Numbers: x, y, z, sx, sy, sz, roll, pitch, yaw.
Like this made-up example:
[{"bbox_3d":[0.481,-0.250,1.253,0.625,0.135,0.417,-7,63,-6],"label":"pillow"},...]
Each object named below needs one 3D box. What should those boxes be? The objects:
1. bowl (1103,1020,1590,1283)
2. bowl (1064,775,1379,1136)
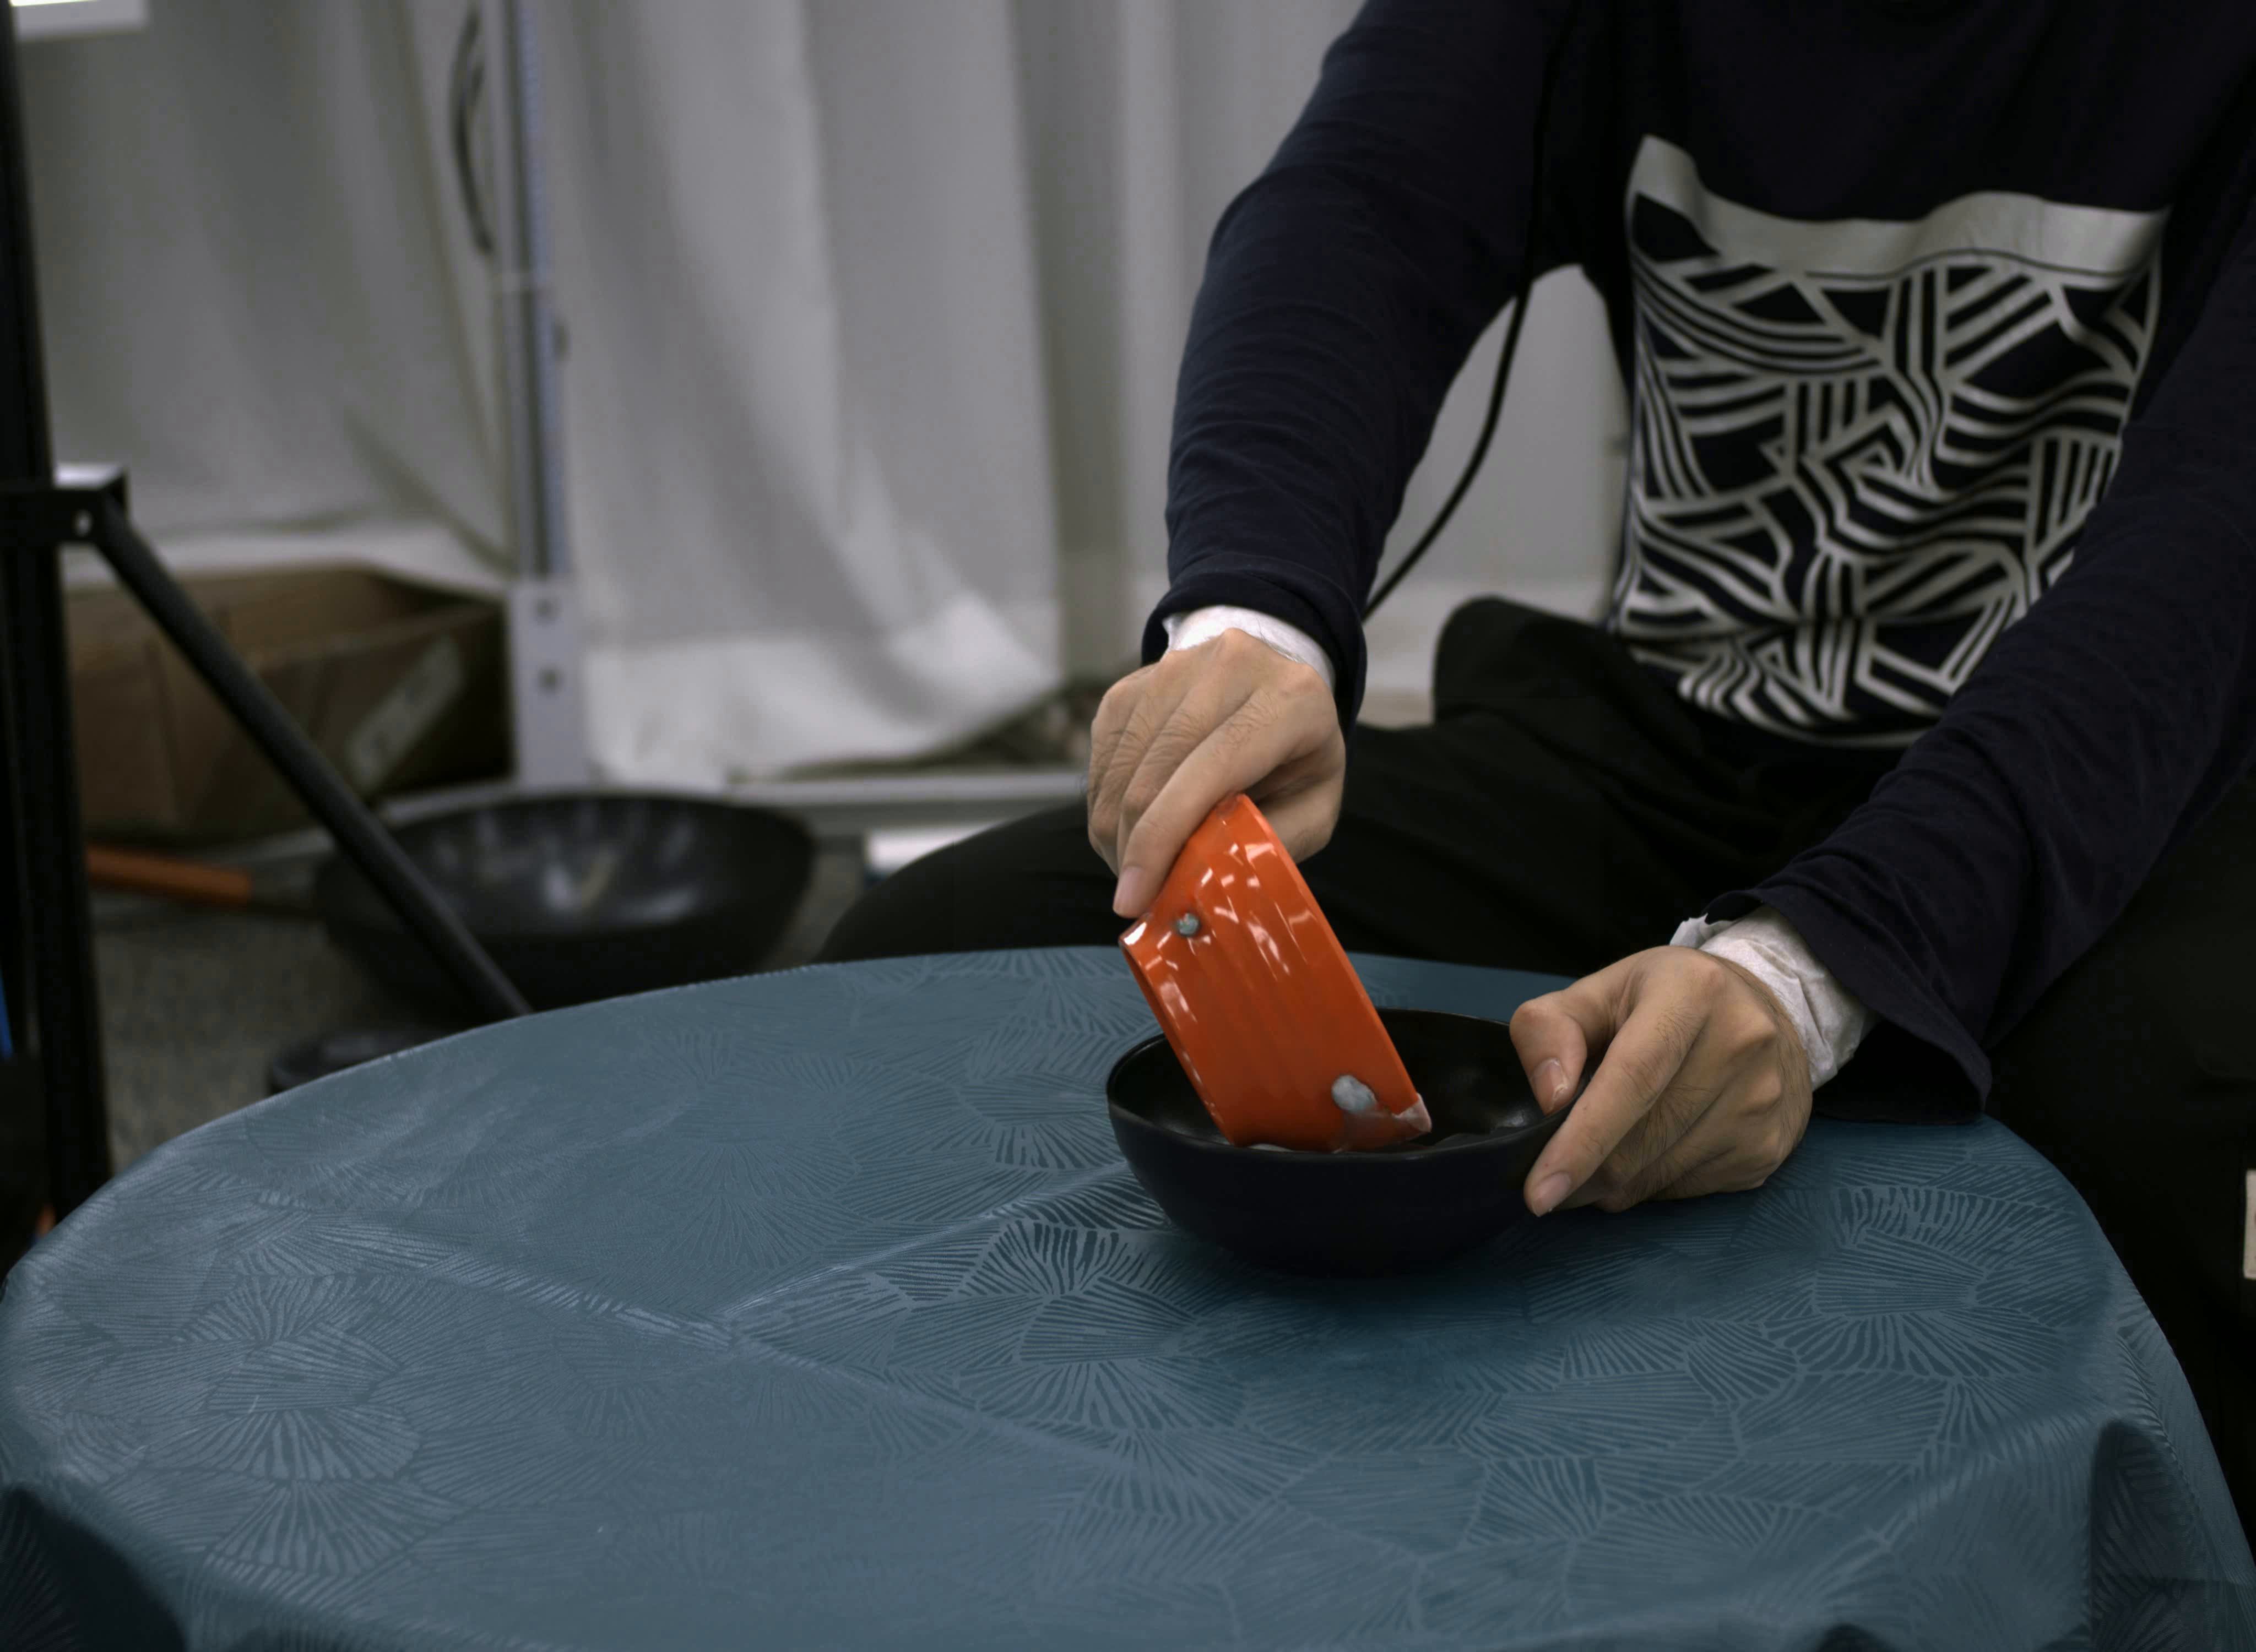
[{"bbox_3d":[0.062,0.097,1.509,0.139,0.050,0.140,0,12,-1],"label":"bowl"},{"bbox_3d":[0.021,0.046,1.496,0.051,0.118,0.120,-32,17,2],"label":"bowl"}]
